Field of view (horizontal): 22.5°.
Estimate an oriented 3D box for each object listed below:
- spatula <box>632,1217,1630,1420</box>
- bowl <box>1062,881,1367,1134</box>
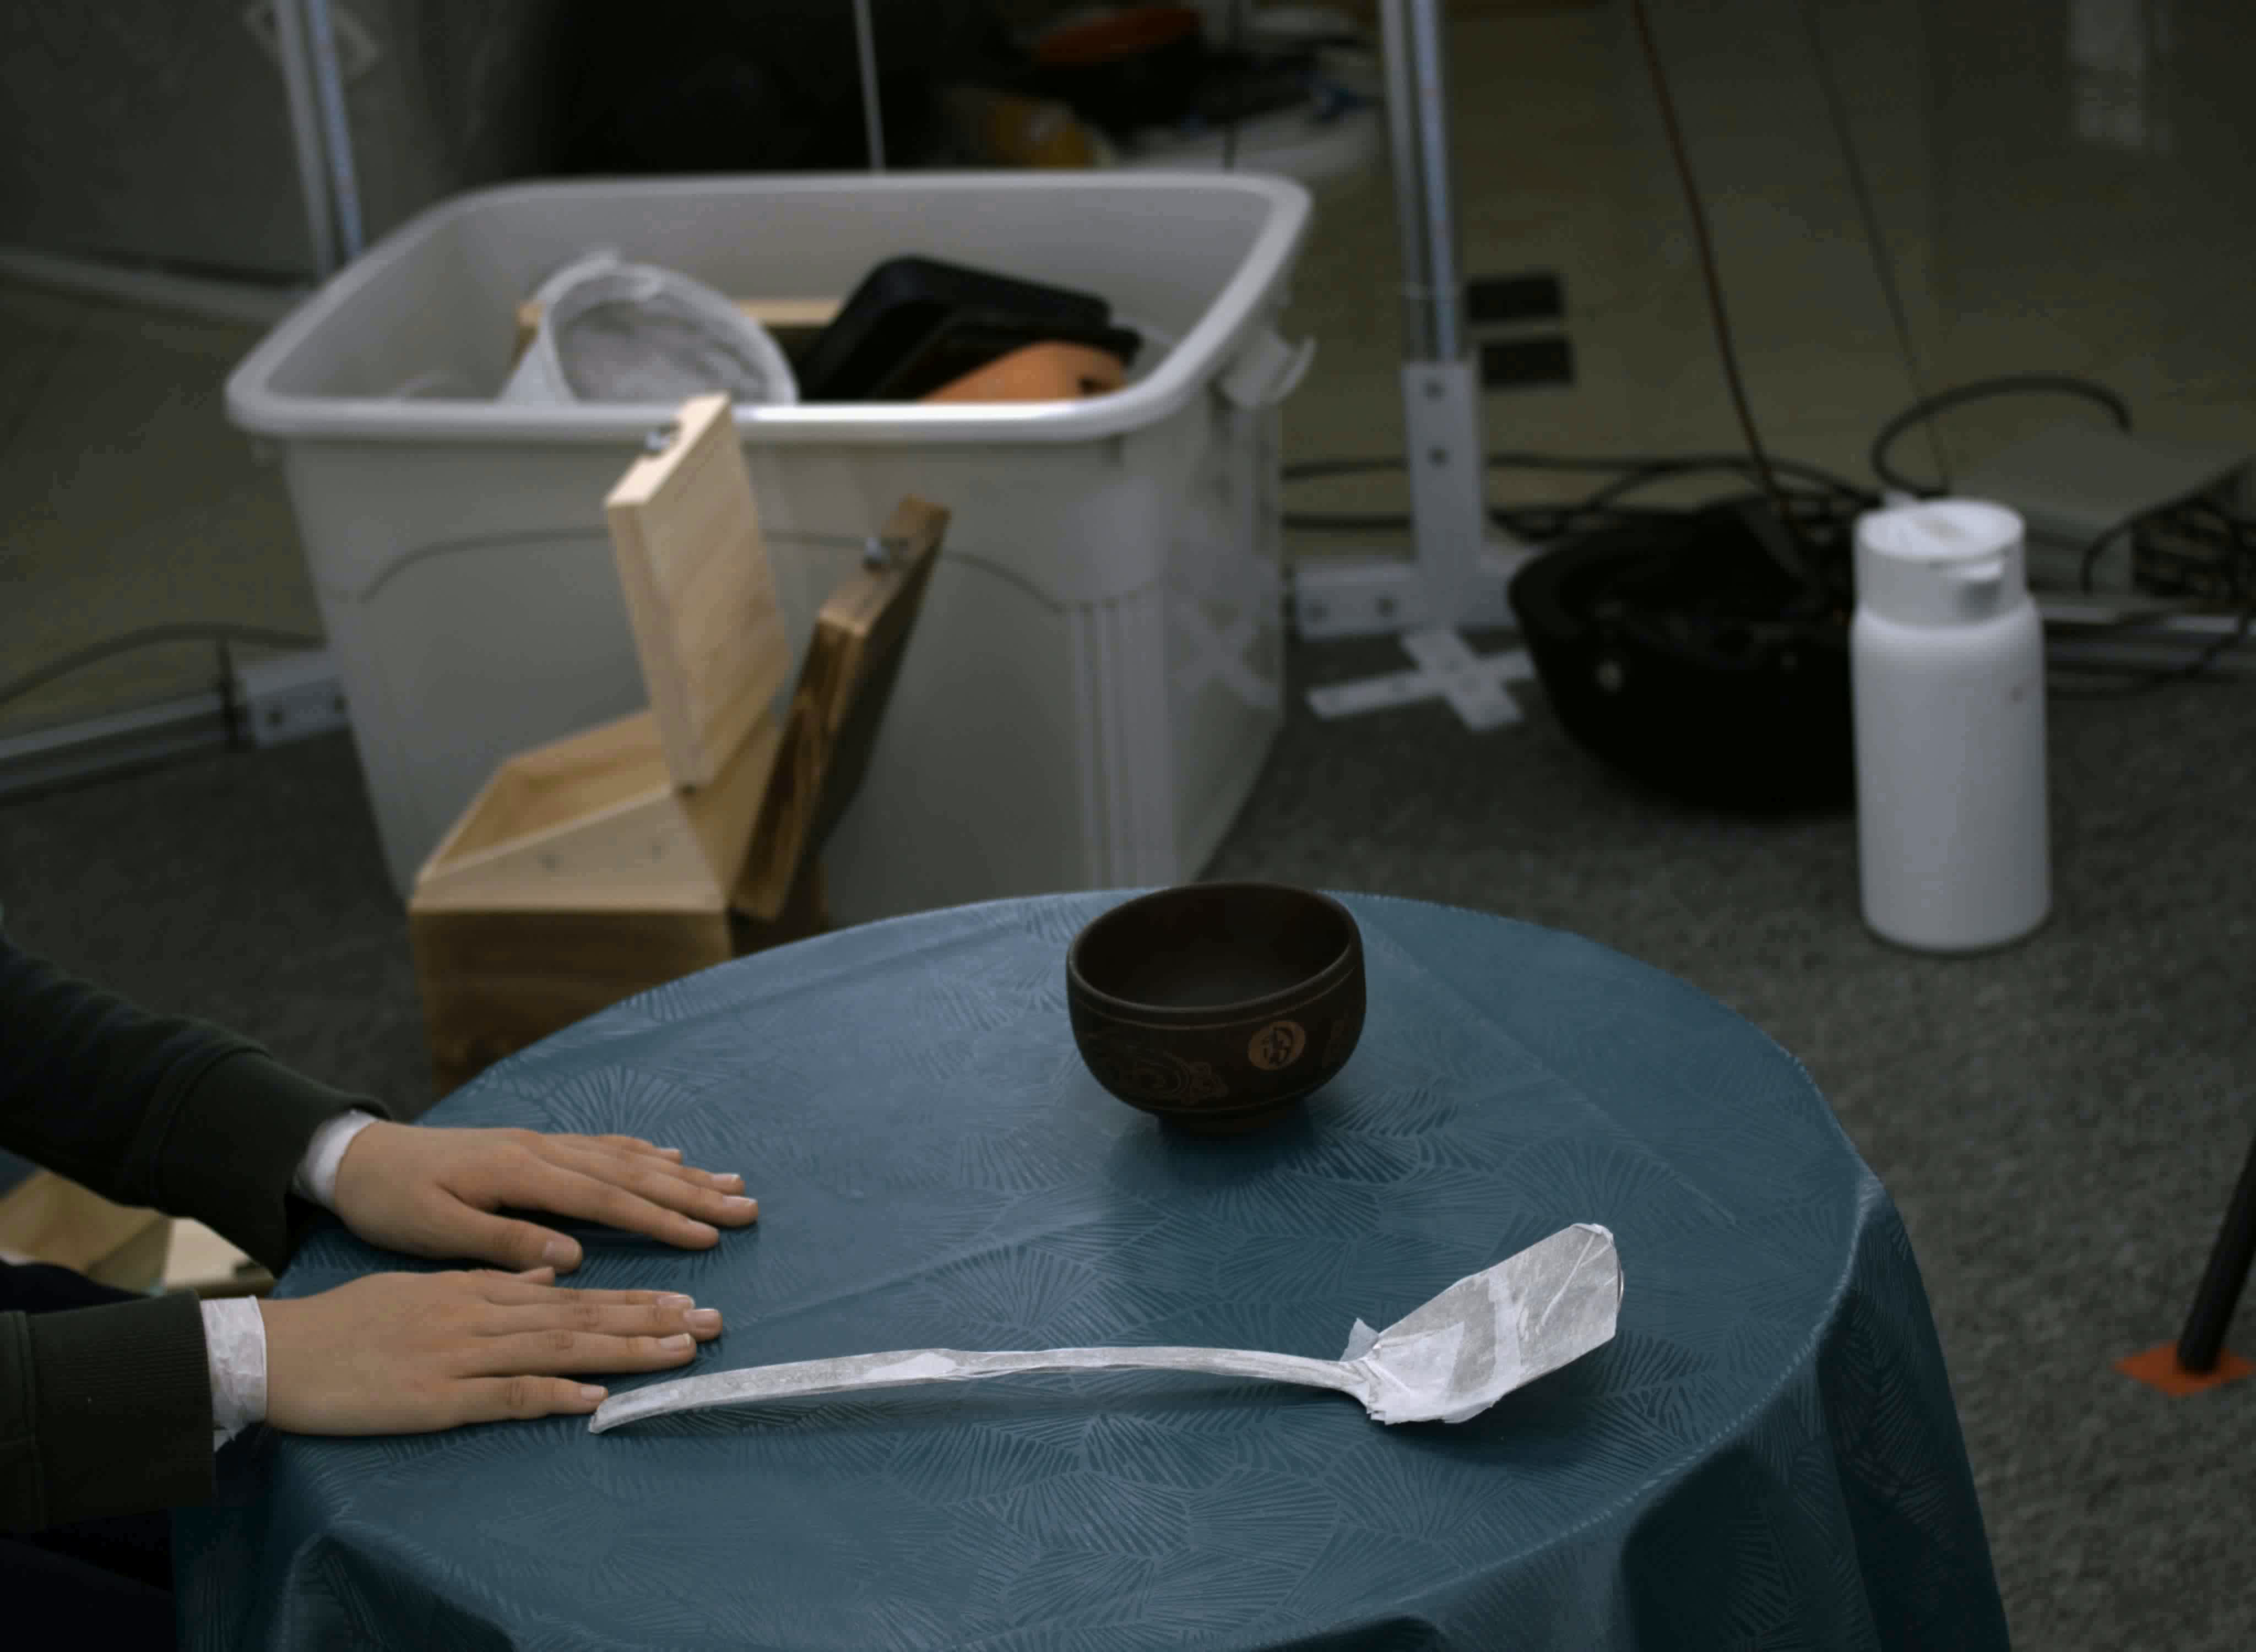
[{"bbox_3d":[-0.004,0.184,2.011,0.364,0.045,0.097,-3,27,8],"label":"spatula"},{"bbox_3d":[0.035,0.076,2.194,0.118,0.071,0.116,-6,23,3],"label":"bowl"}]
